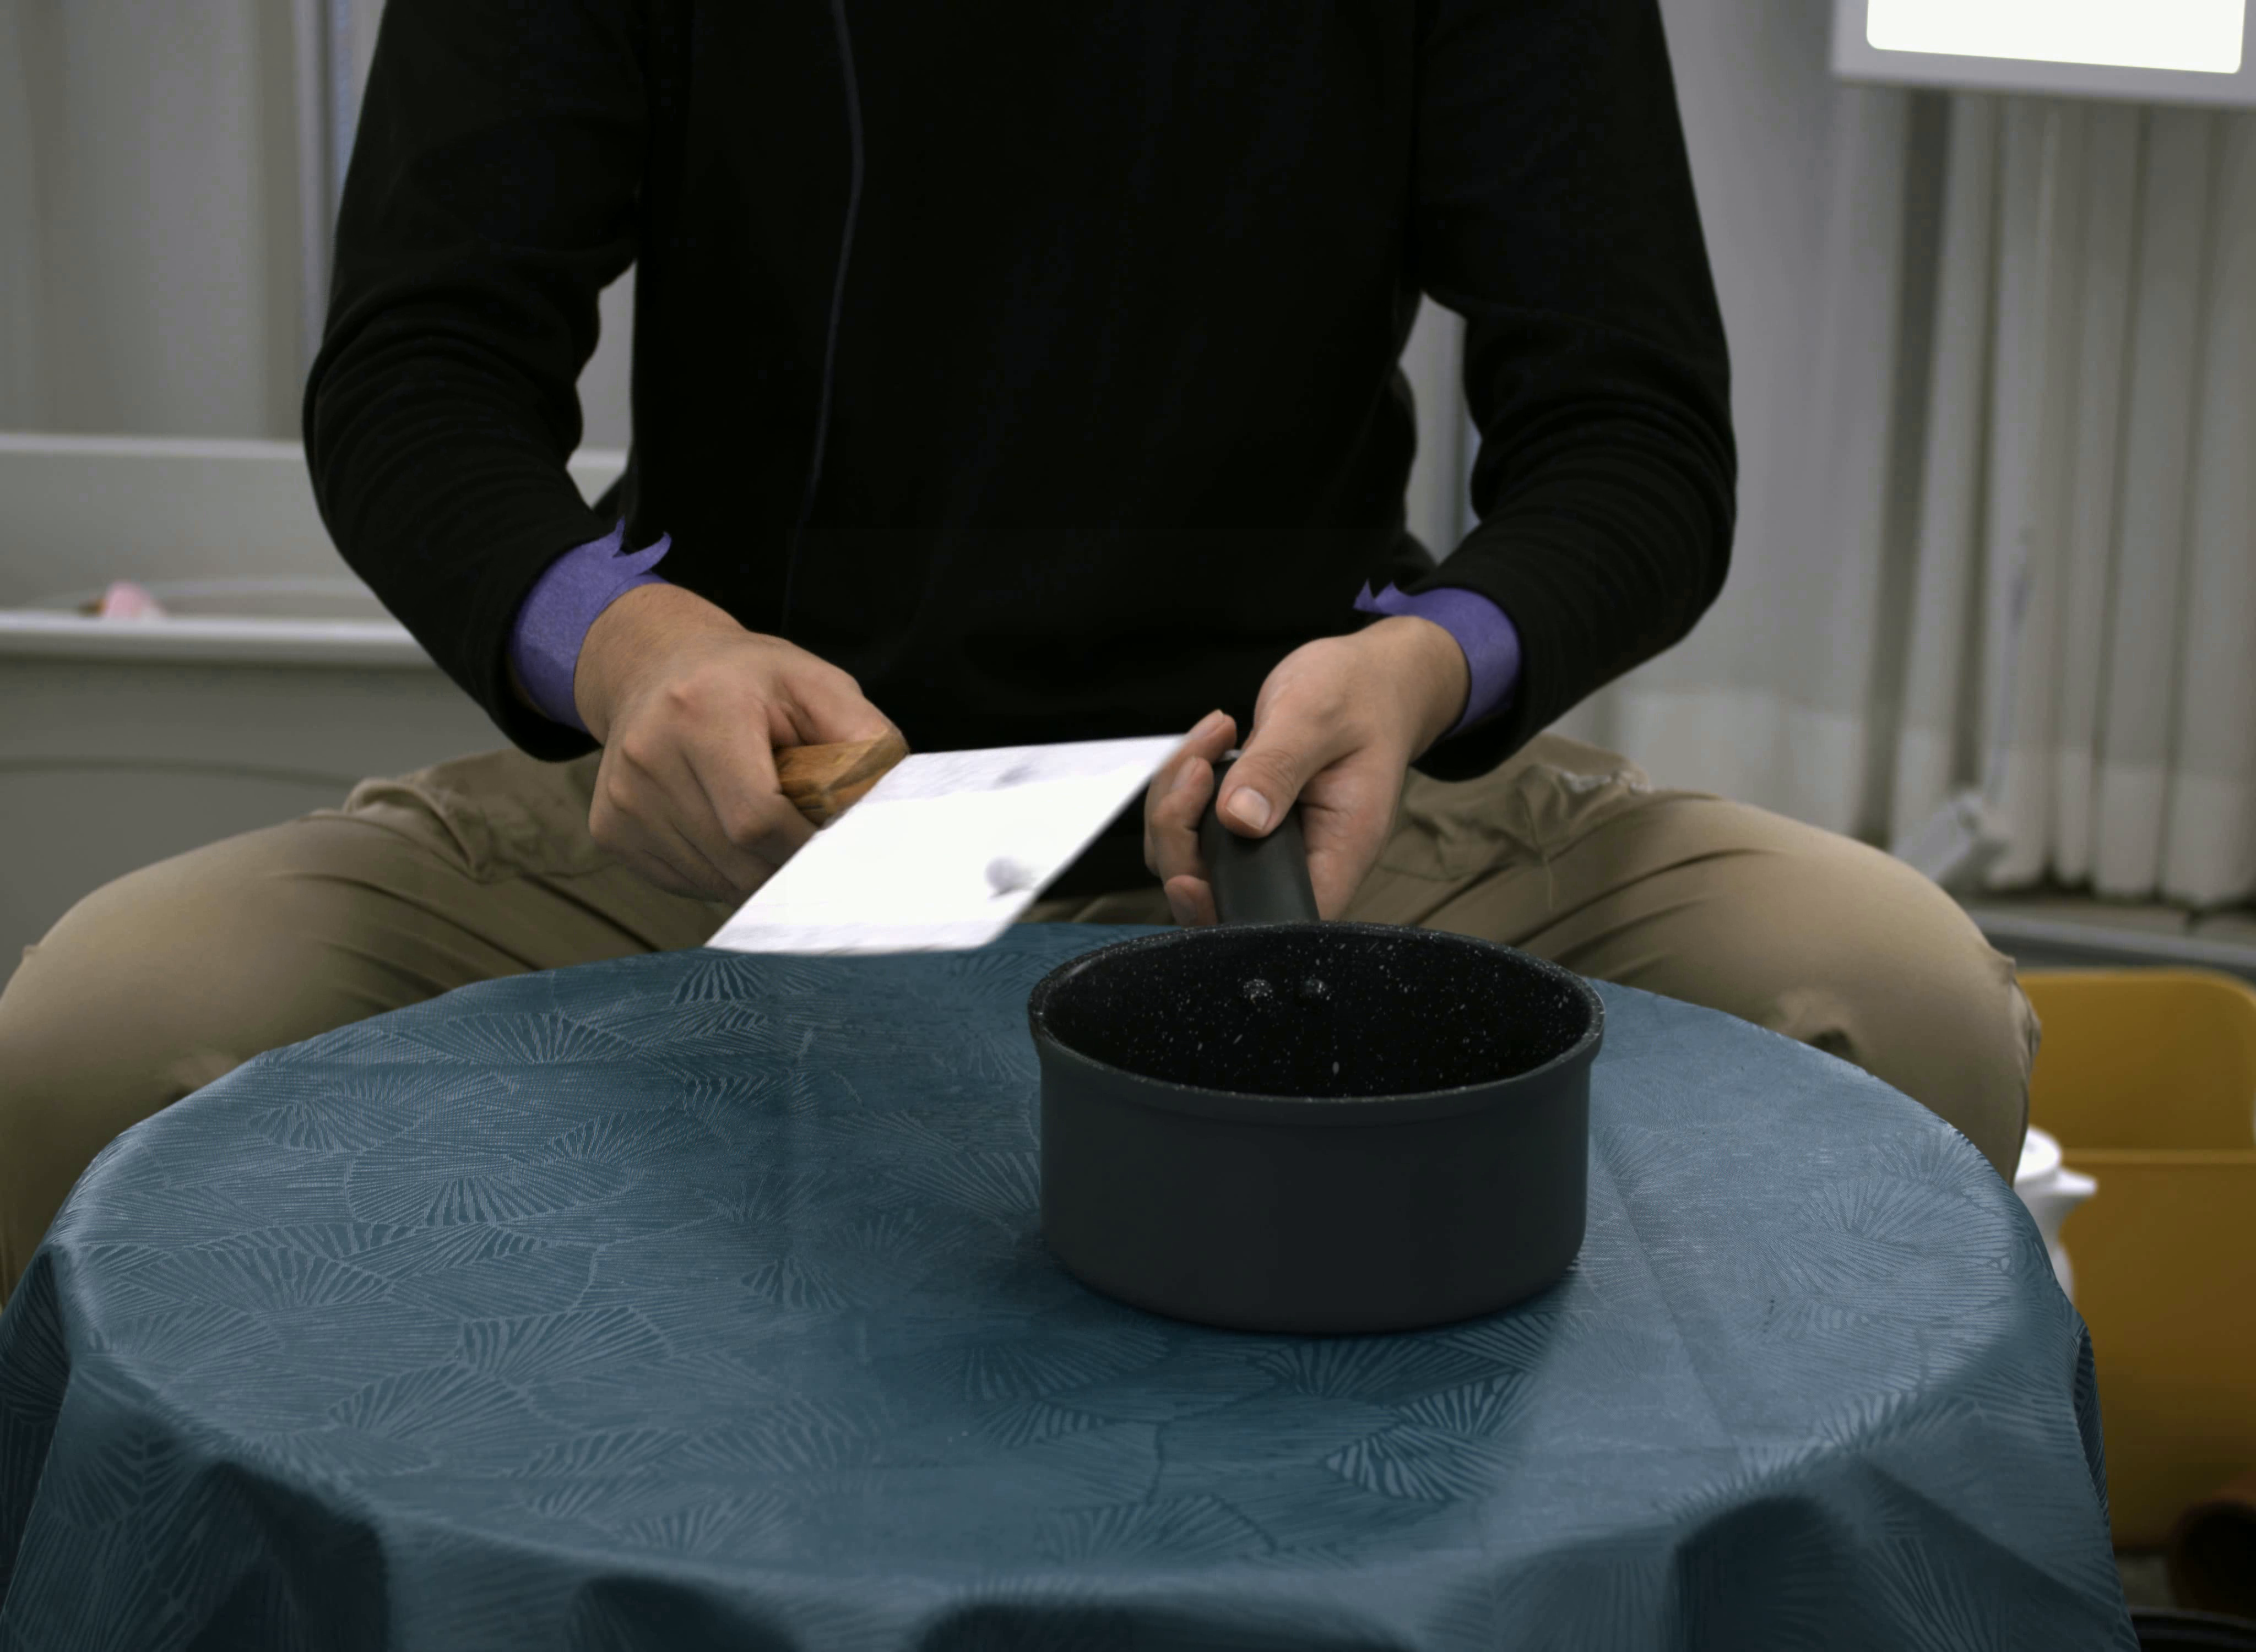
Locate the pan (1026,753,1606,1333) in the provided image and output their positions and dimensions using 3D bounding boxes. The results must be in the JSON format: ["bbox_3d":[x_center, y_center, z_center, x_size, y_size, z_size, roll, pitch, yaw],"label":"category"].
[{"bbox_3d":[0.053,0.063,1.640,0.171,0.087,0.326,0,17,-2],"label":"pan"}]

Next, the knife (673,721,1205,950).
[{"bbox_3d":[-0.079,0.004,1.613,0.093,0.021,0.303,-47,20,-23],"label":"knife"}]
